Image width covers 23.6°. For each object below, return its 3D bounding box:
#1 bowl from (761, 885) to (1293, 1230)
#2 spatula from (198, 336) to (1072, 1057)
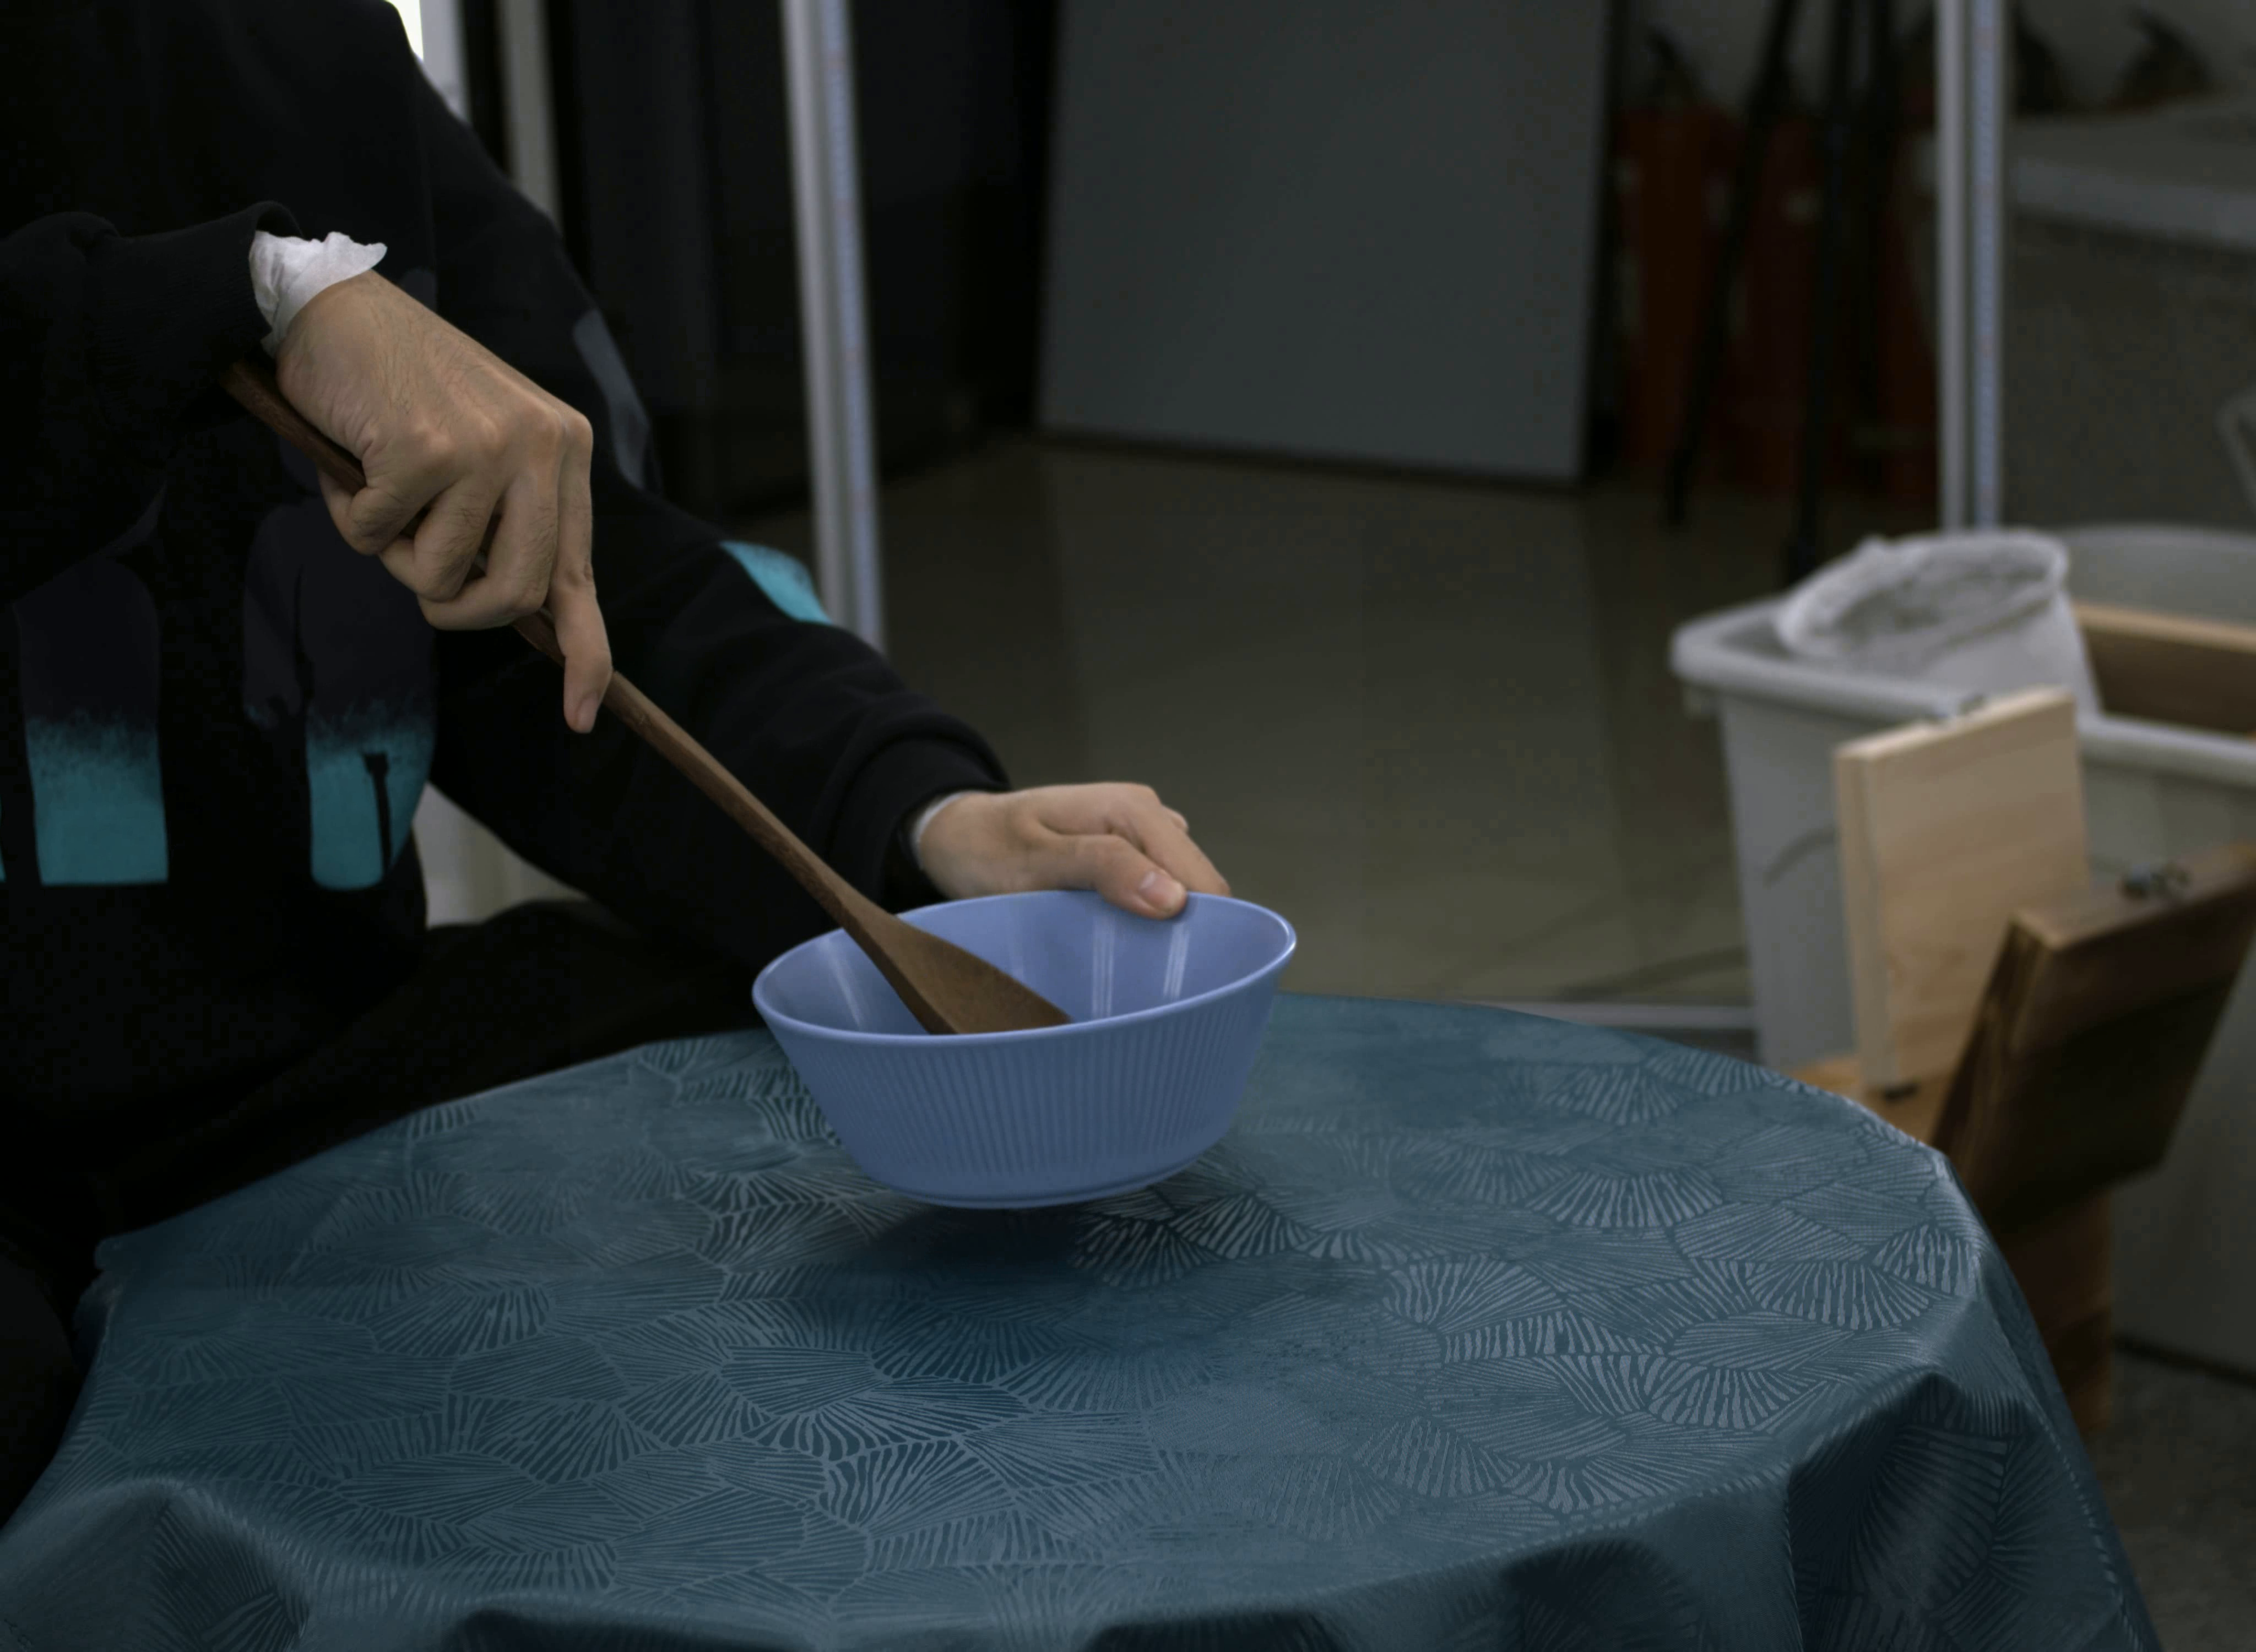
[{"bbox_3d":[-0.027,0.078,1.729,0.174,0.071,0.176,-10,15,2],"label":"bowl"},{"bbox_3d":[-0.143,-0.026,1.712,0.016,0.384,0.096,-46,8,12],"label":"spatula"}]
